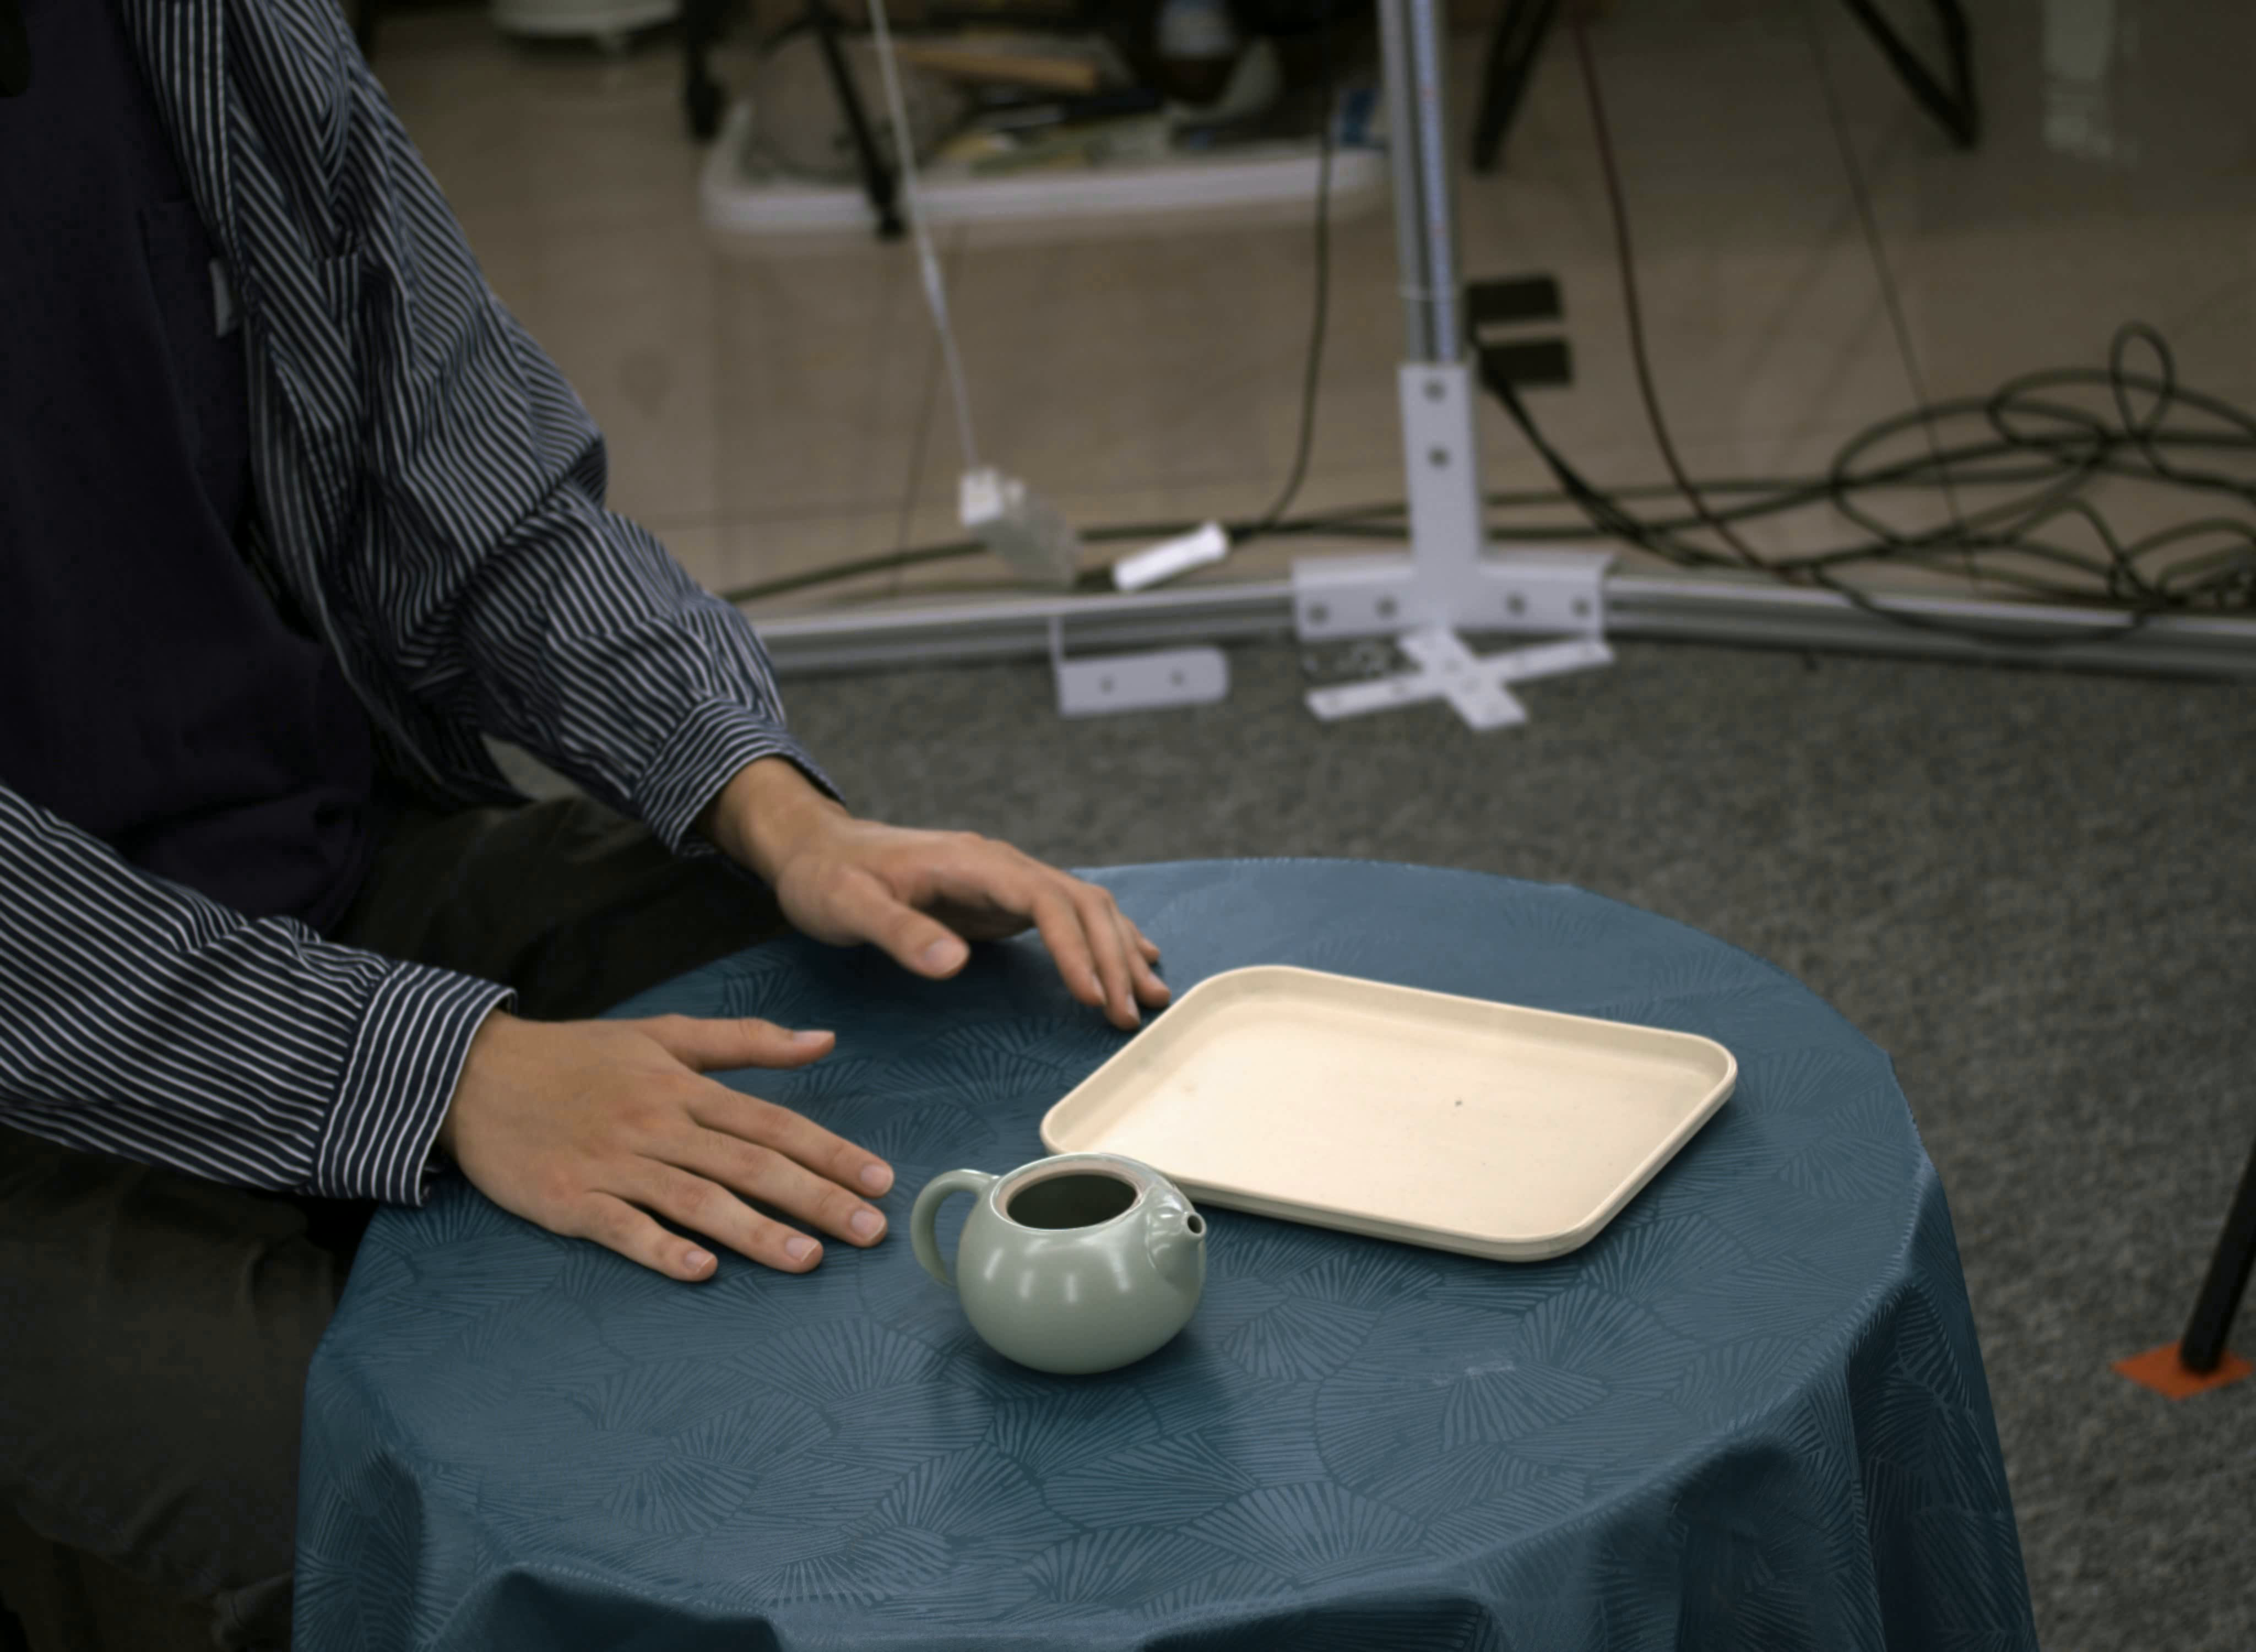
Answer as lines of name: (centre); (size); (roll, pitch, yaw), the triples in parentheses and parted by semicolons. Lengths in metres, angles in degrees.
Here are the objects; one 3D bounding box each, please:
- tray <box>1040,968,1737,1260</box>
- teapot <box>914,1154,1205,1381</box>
tray: (0.100, 0.110, 2.168); (0.238, 0.018, 0.169); (9, 29, 30)
teapot: (-0.026, 0.158, 2.049); (0.128, 0.062, 0.090); (12, 33, 35)
